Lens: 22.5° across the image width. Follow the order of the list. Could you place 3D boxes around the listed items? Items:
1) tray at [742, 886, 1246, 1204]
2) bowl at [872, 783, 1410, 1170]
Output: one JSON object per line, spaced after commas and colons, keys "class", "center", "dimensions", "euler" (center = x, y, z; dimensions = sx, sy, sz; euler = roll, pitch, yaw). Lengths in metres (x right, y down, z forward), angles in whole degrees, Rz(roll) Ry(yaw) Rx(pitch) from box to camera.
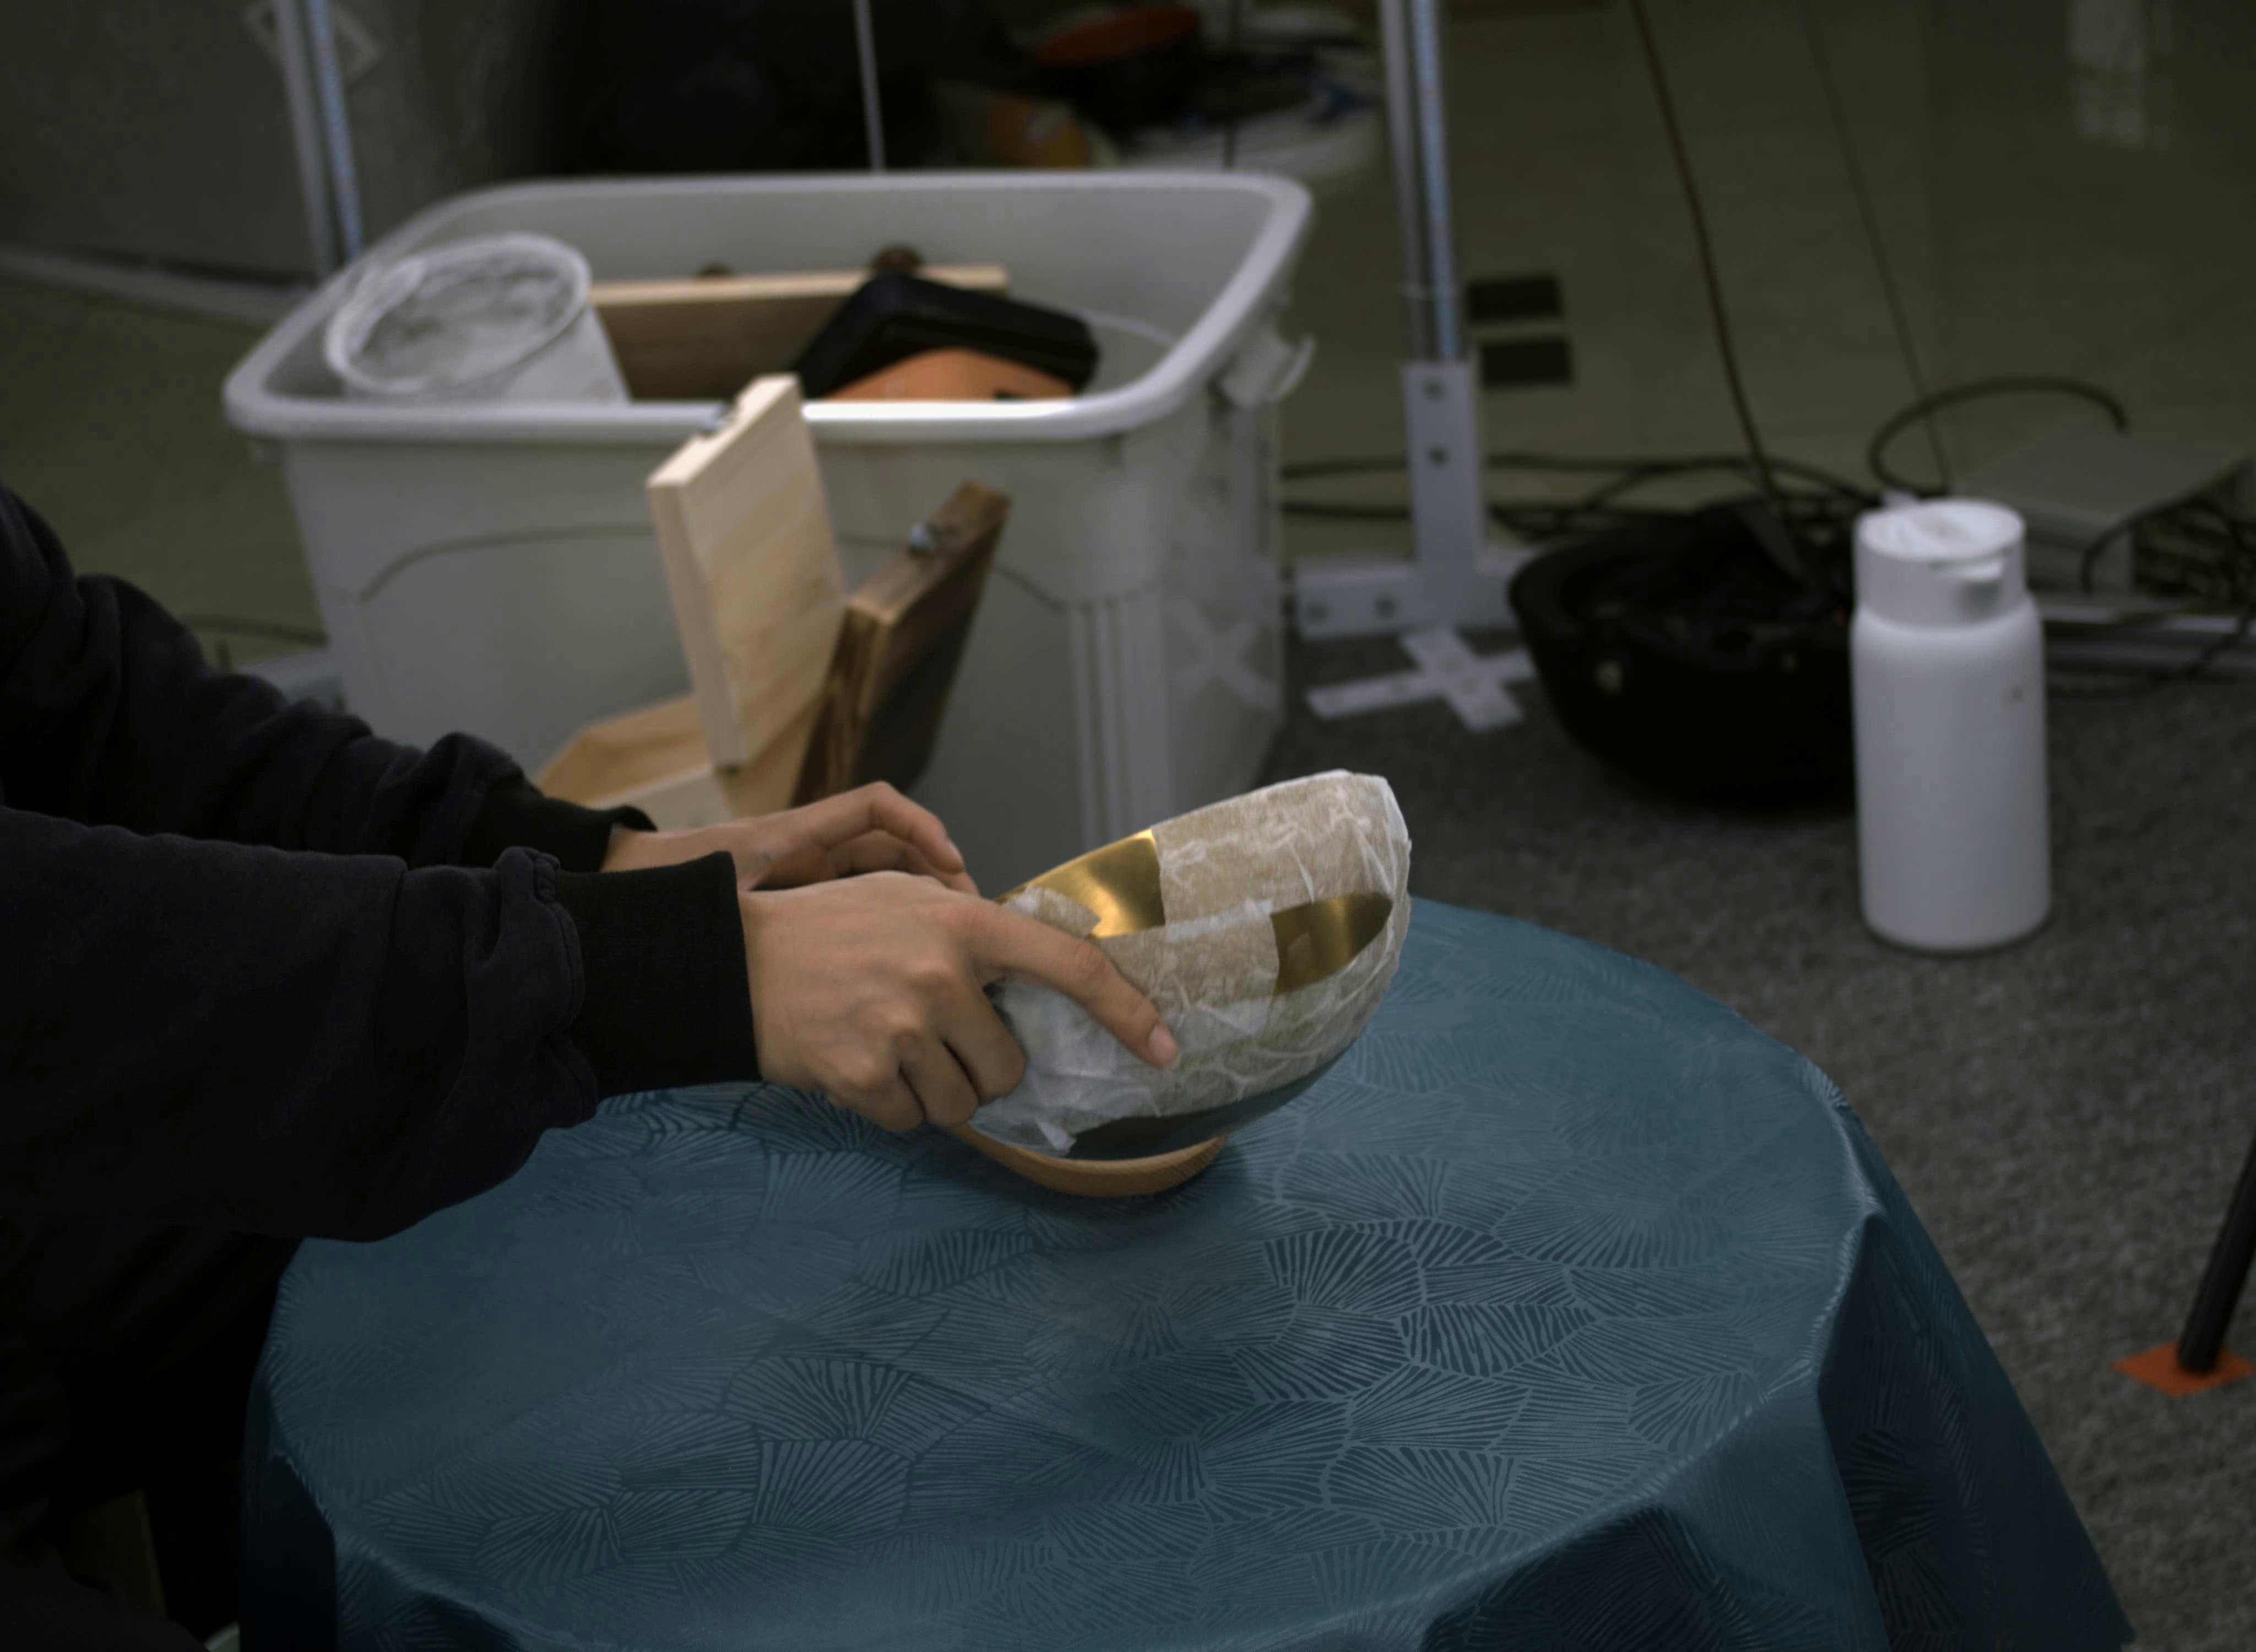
{"class": "tray", "center": [-0.054, 0.084, 2.211], "dimensions": [0.229, 0.021, 0.100], "euler": [30, 44, 30]}
{"class": "bowl", "center": [0.015, 0.068, 2.037], "dimensions": [0.214, 0.094, 0.216], "euler": [-22, -10, -4]}
